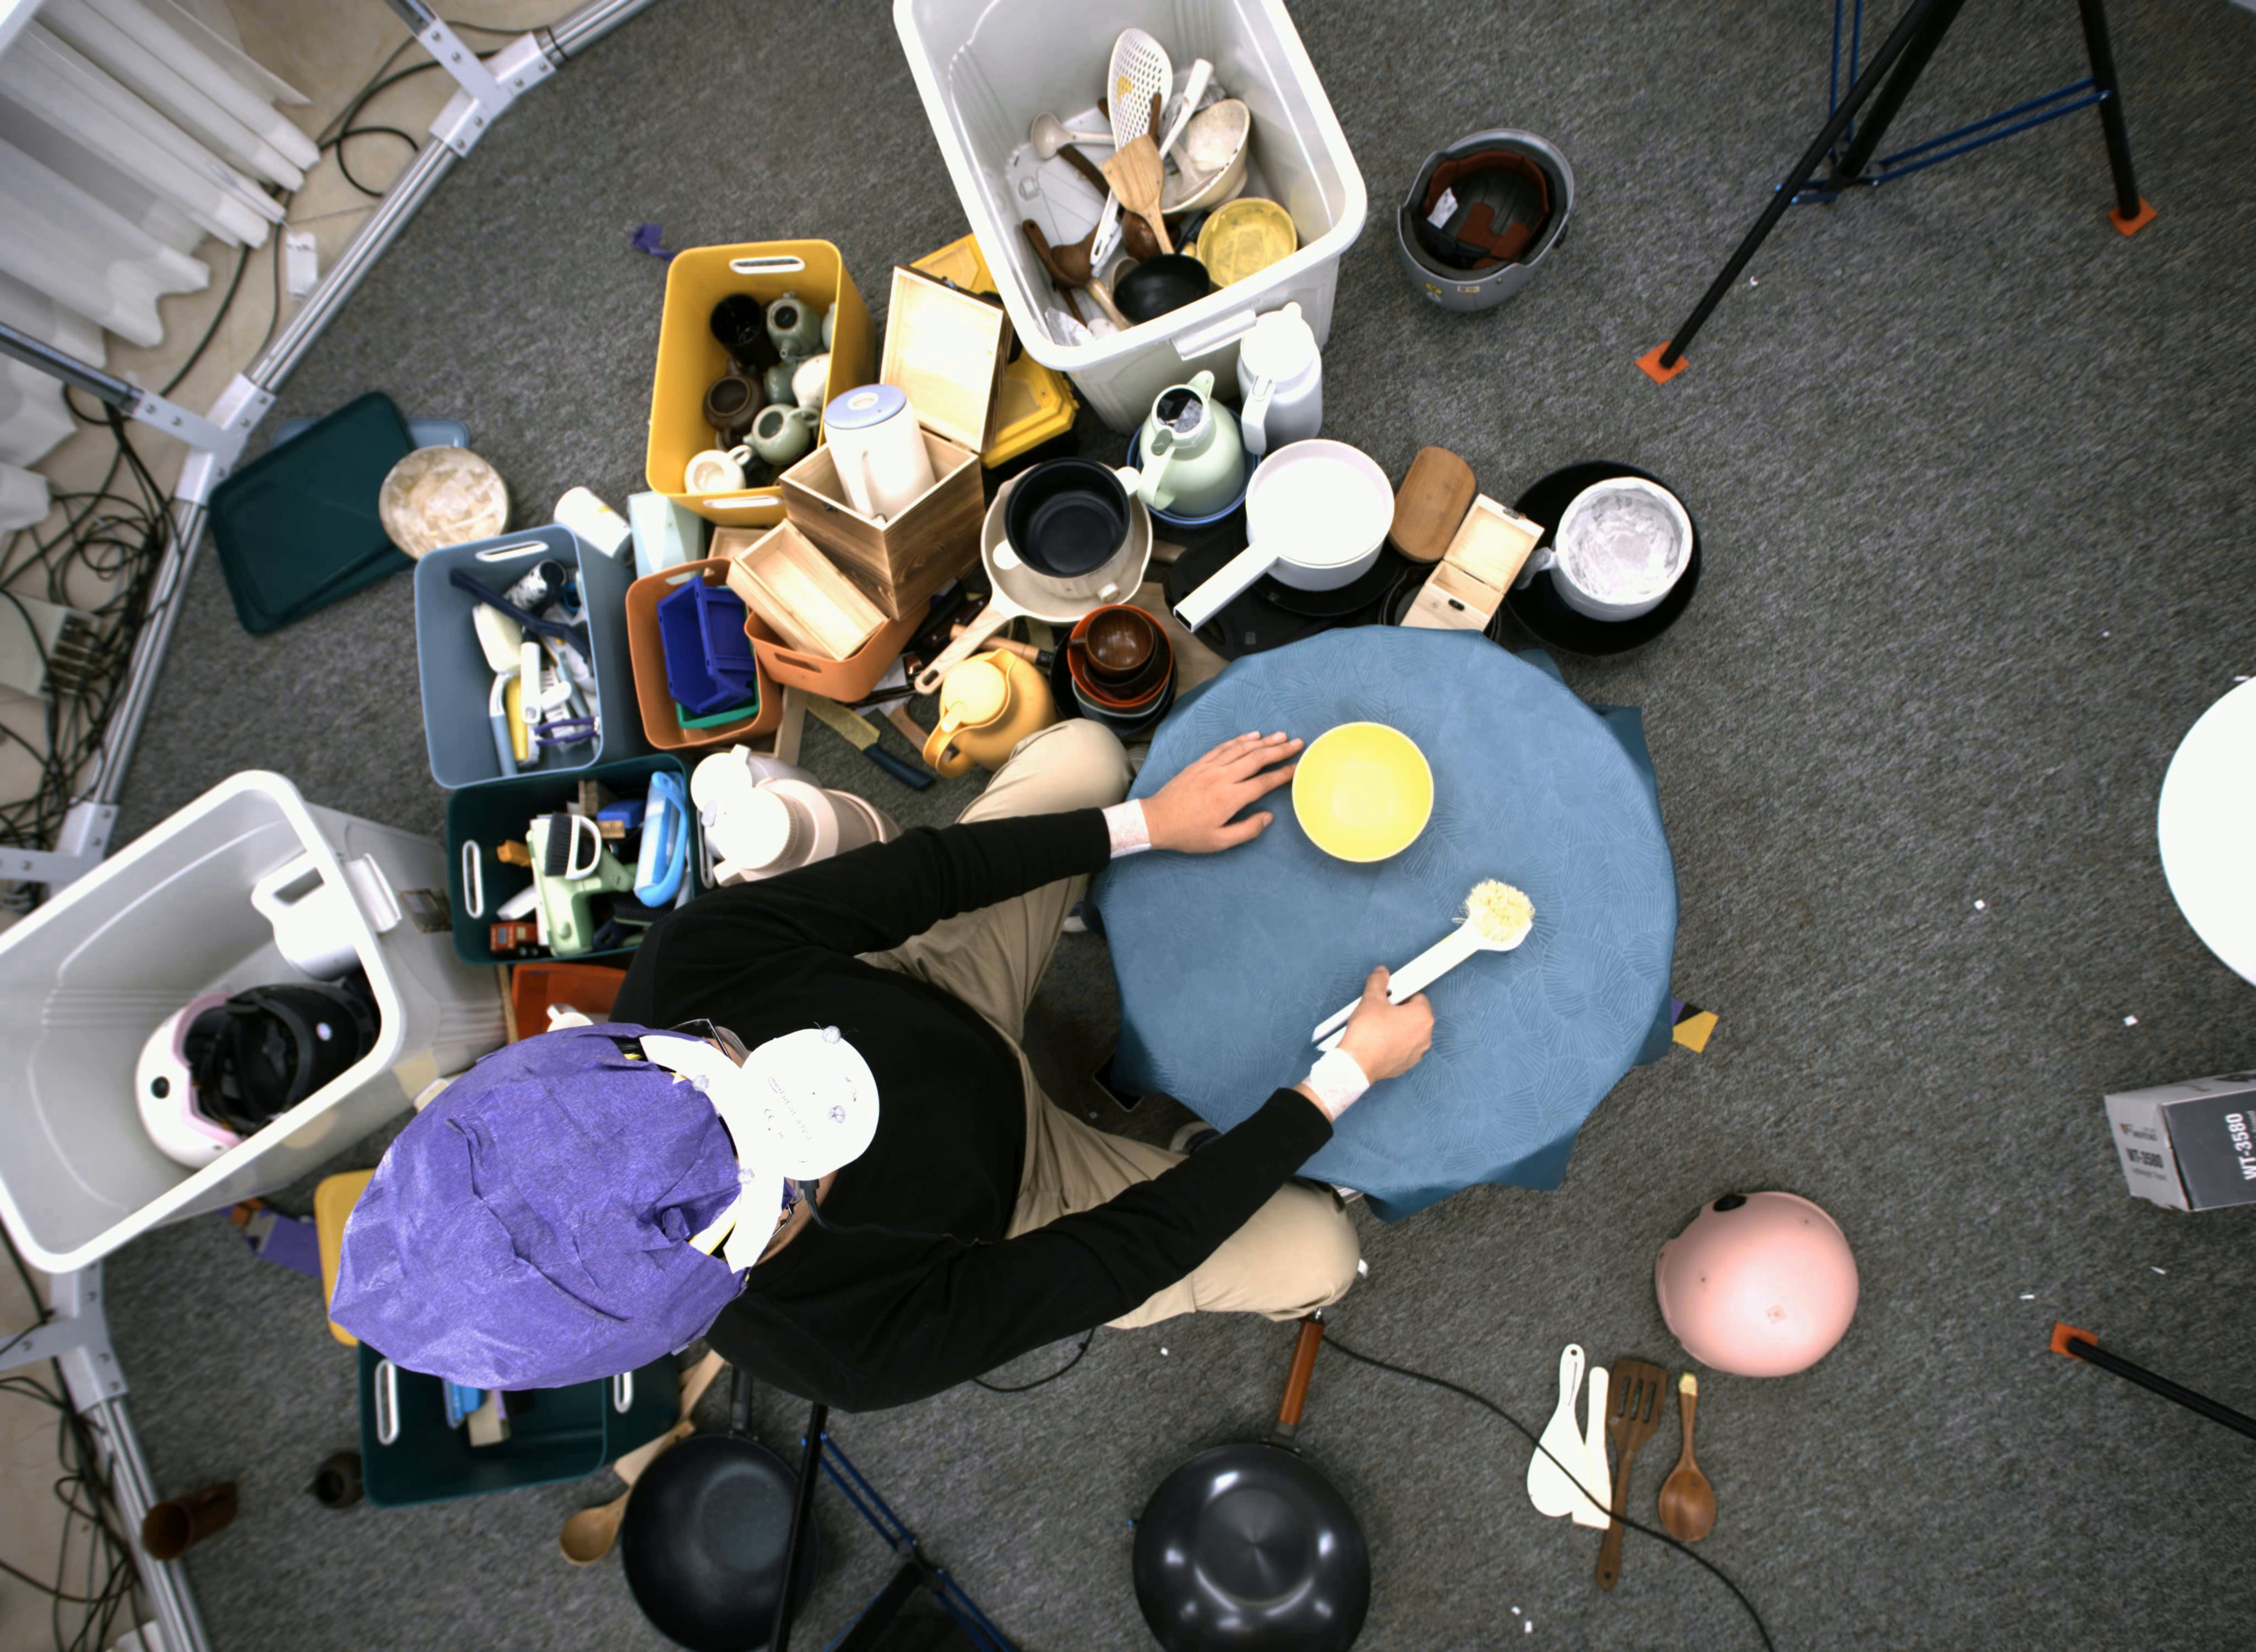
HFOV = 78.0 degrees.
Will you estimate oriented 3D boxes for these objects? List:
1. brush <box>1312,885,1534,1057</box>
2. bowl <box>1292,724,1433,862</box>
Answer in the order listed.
[{"bbox_3d":[0.297,0.149,1.409,0.267,0.057,0.067,-32,48,4],"label":"brush"},{"bbox_3d":[0.245,-0.032,1.441,0.146,0.060,0.144,-1,85,11],"label":"bowl"}]
